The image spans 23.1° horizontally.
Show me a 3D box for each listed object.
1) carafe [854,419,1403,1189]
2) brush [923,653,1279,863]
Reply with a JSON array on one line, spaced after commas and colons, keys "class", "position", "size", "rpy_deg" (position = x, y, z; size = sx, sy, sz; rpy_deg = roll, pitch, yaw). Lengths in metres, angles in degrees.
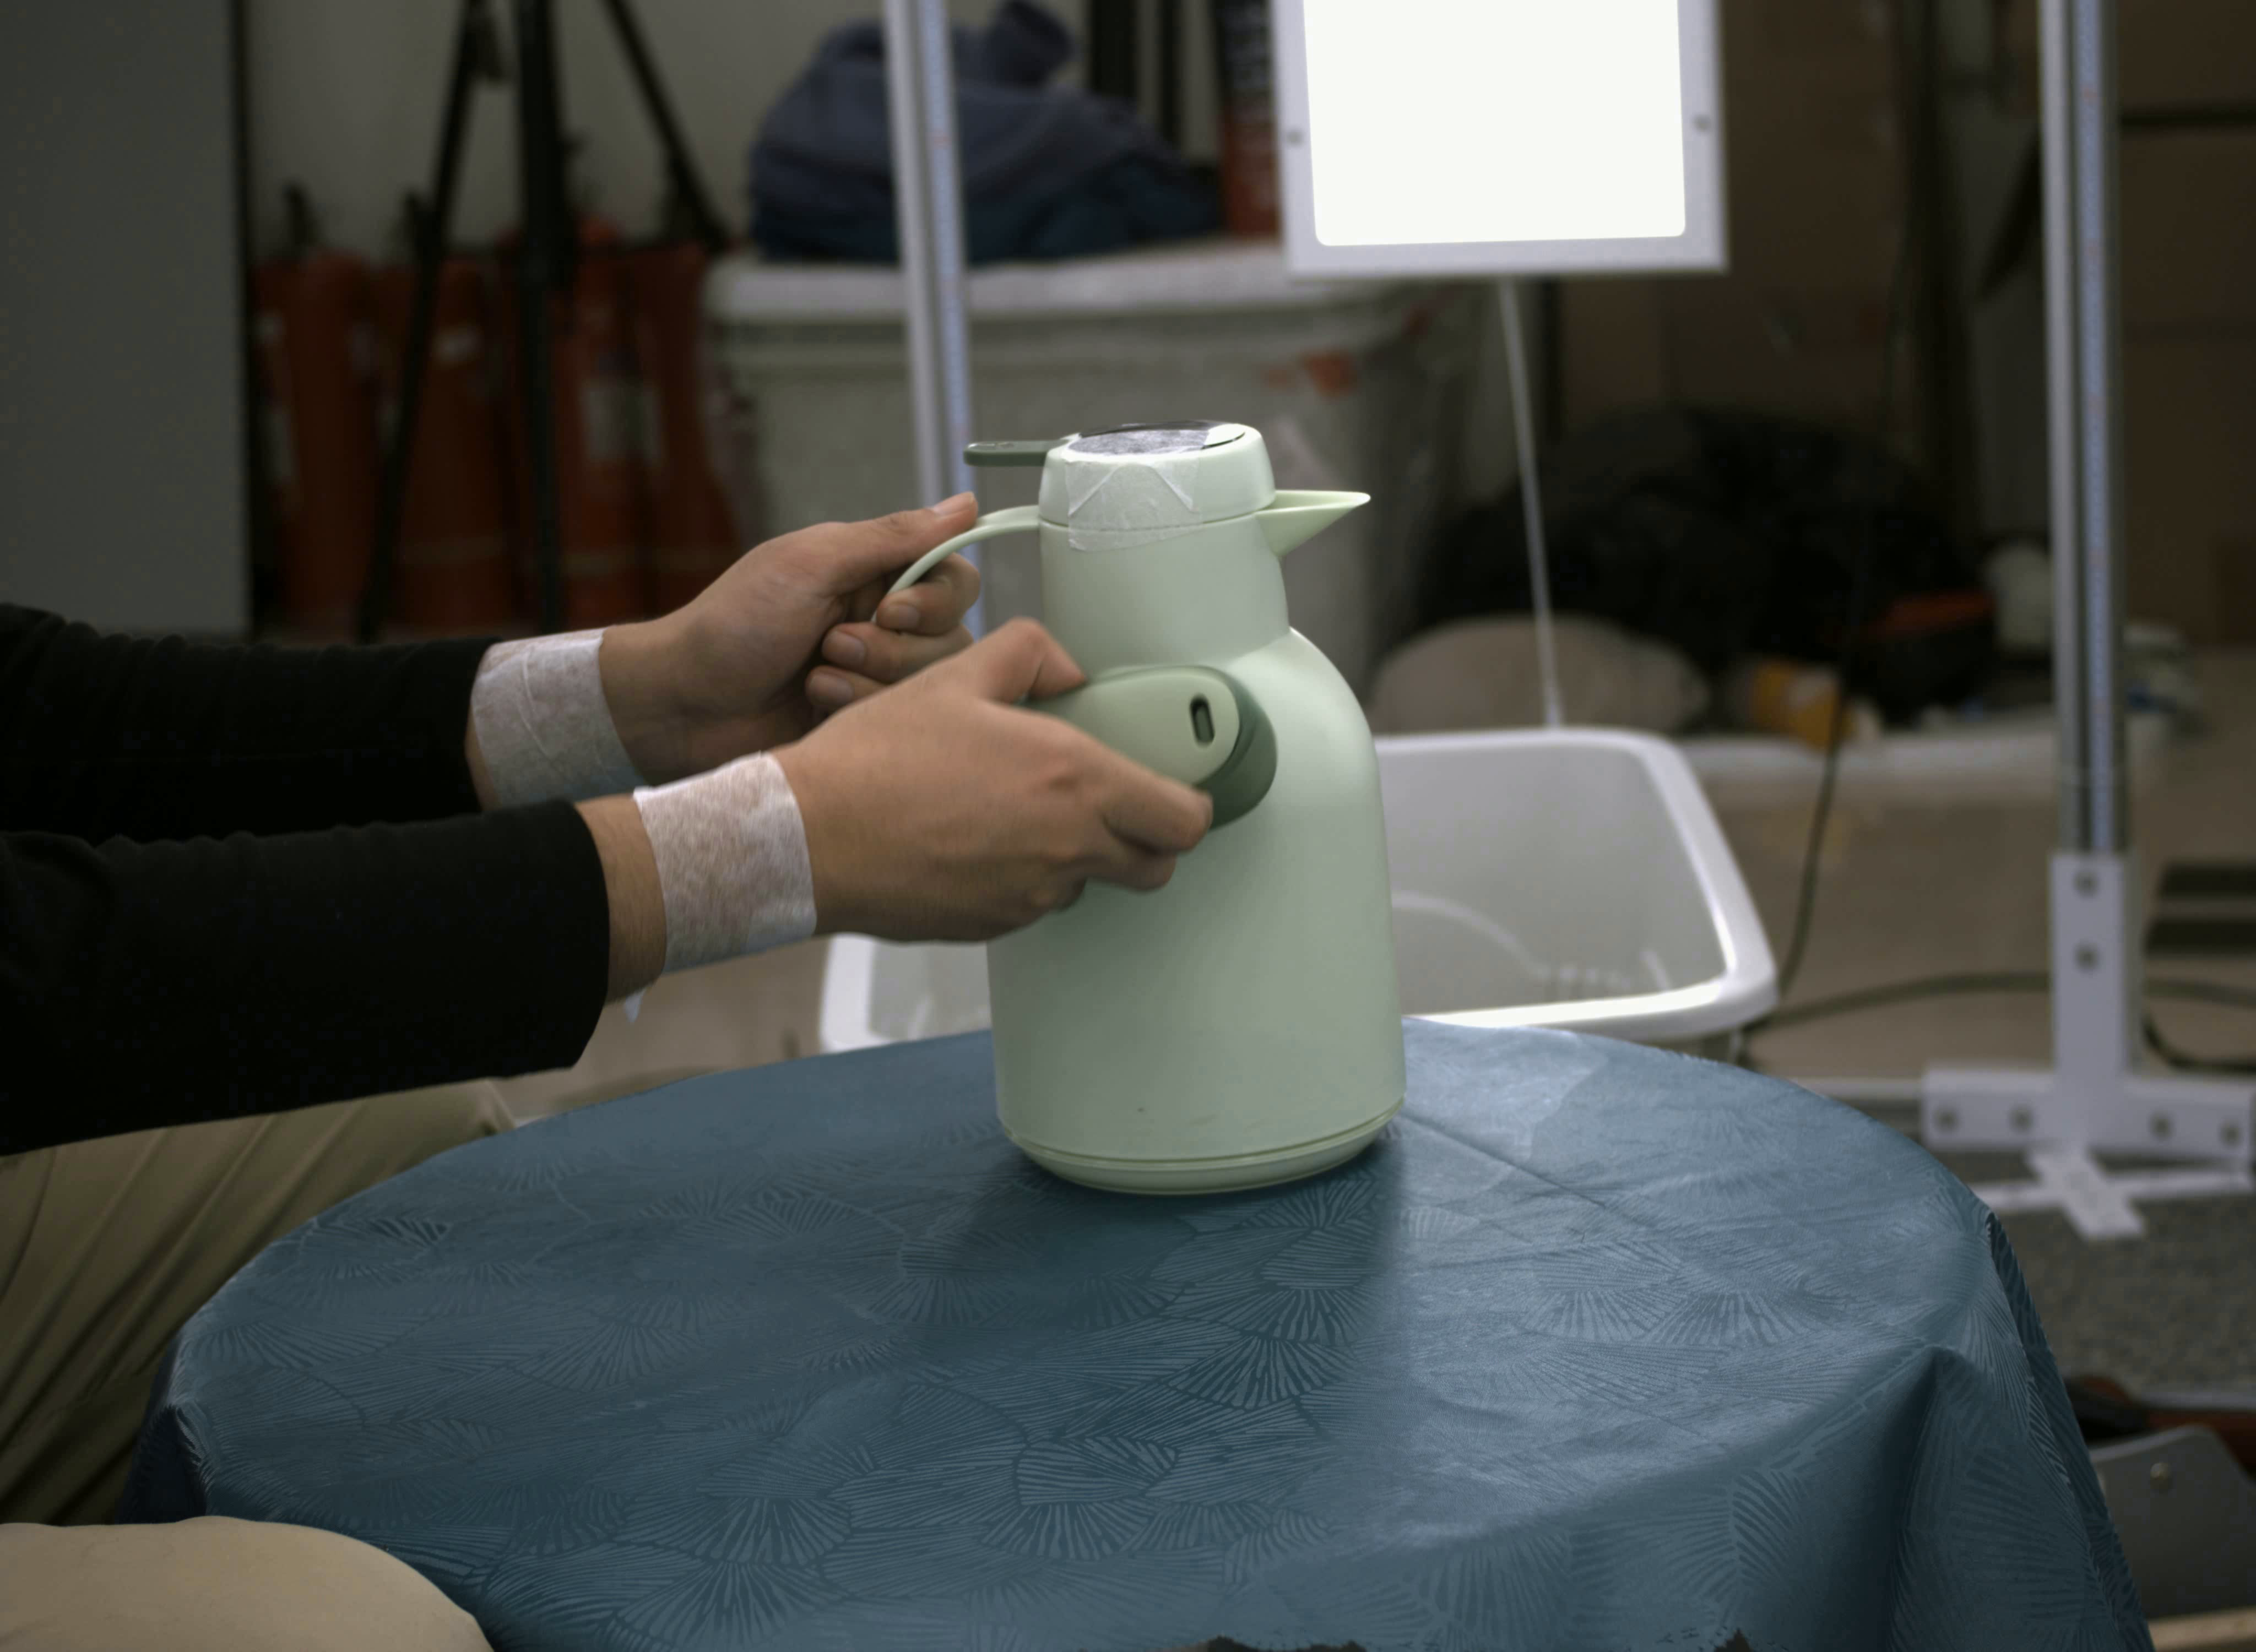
[{"class": "carafe", "position": [0.003, -0.011, 1.918], "size": [0.188, 0.257, 0.143], "rpy_deg": [-4, 14, 12]}, {"class": "brush", "position": [-0.008, -0.023, 1.814], "size": [0.124, 0.060, 0.074], "rpy_deg": [-14, -7, 20]}]
